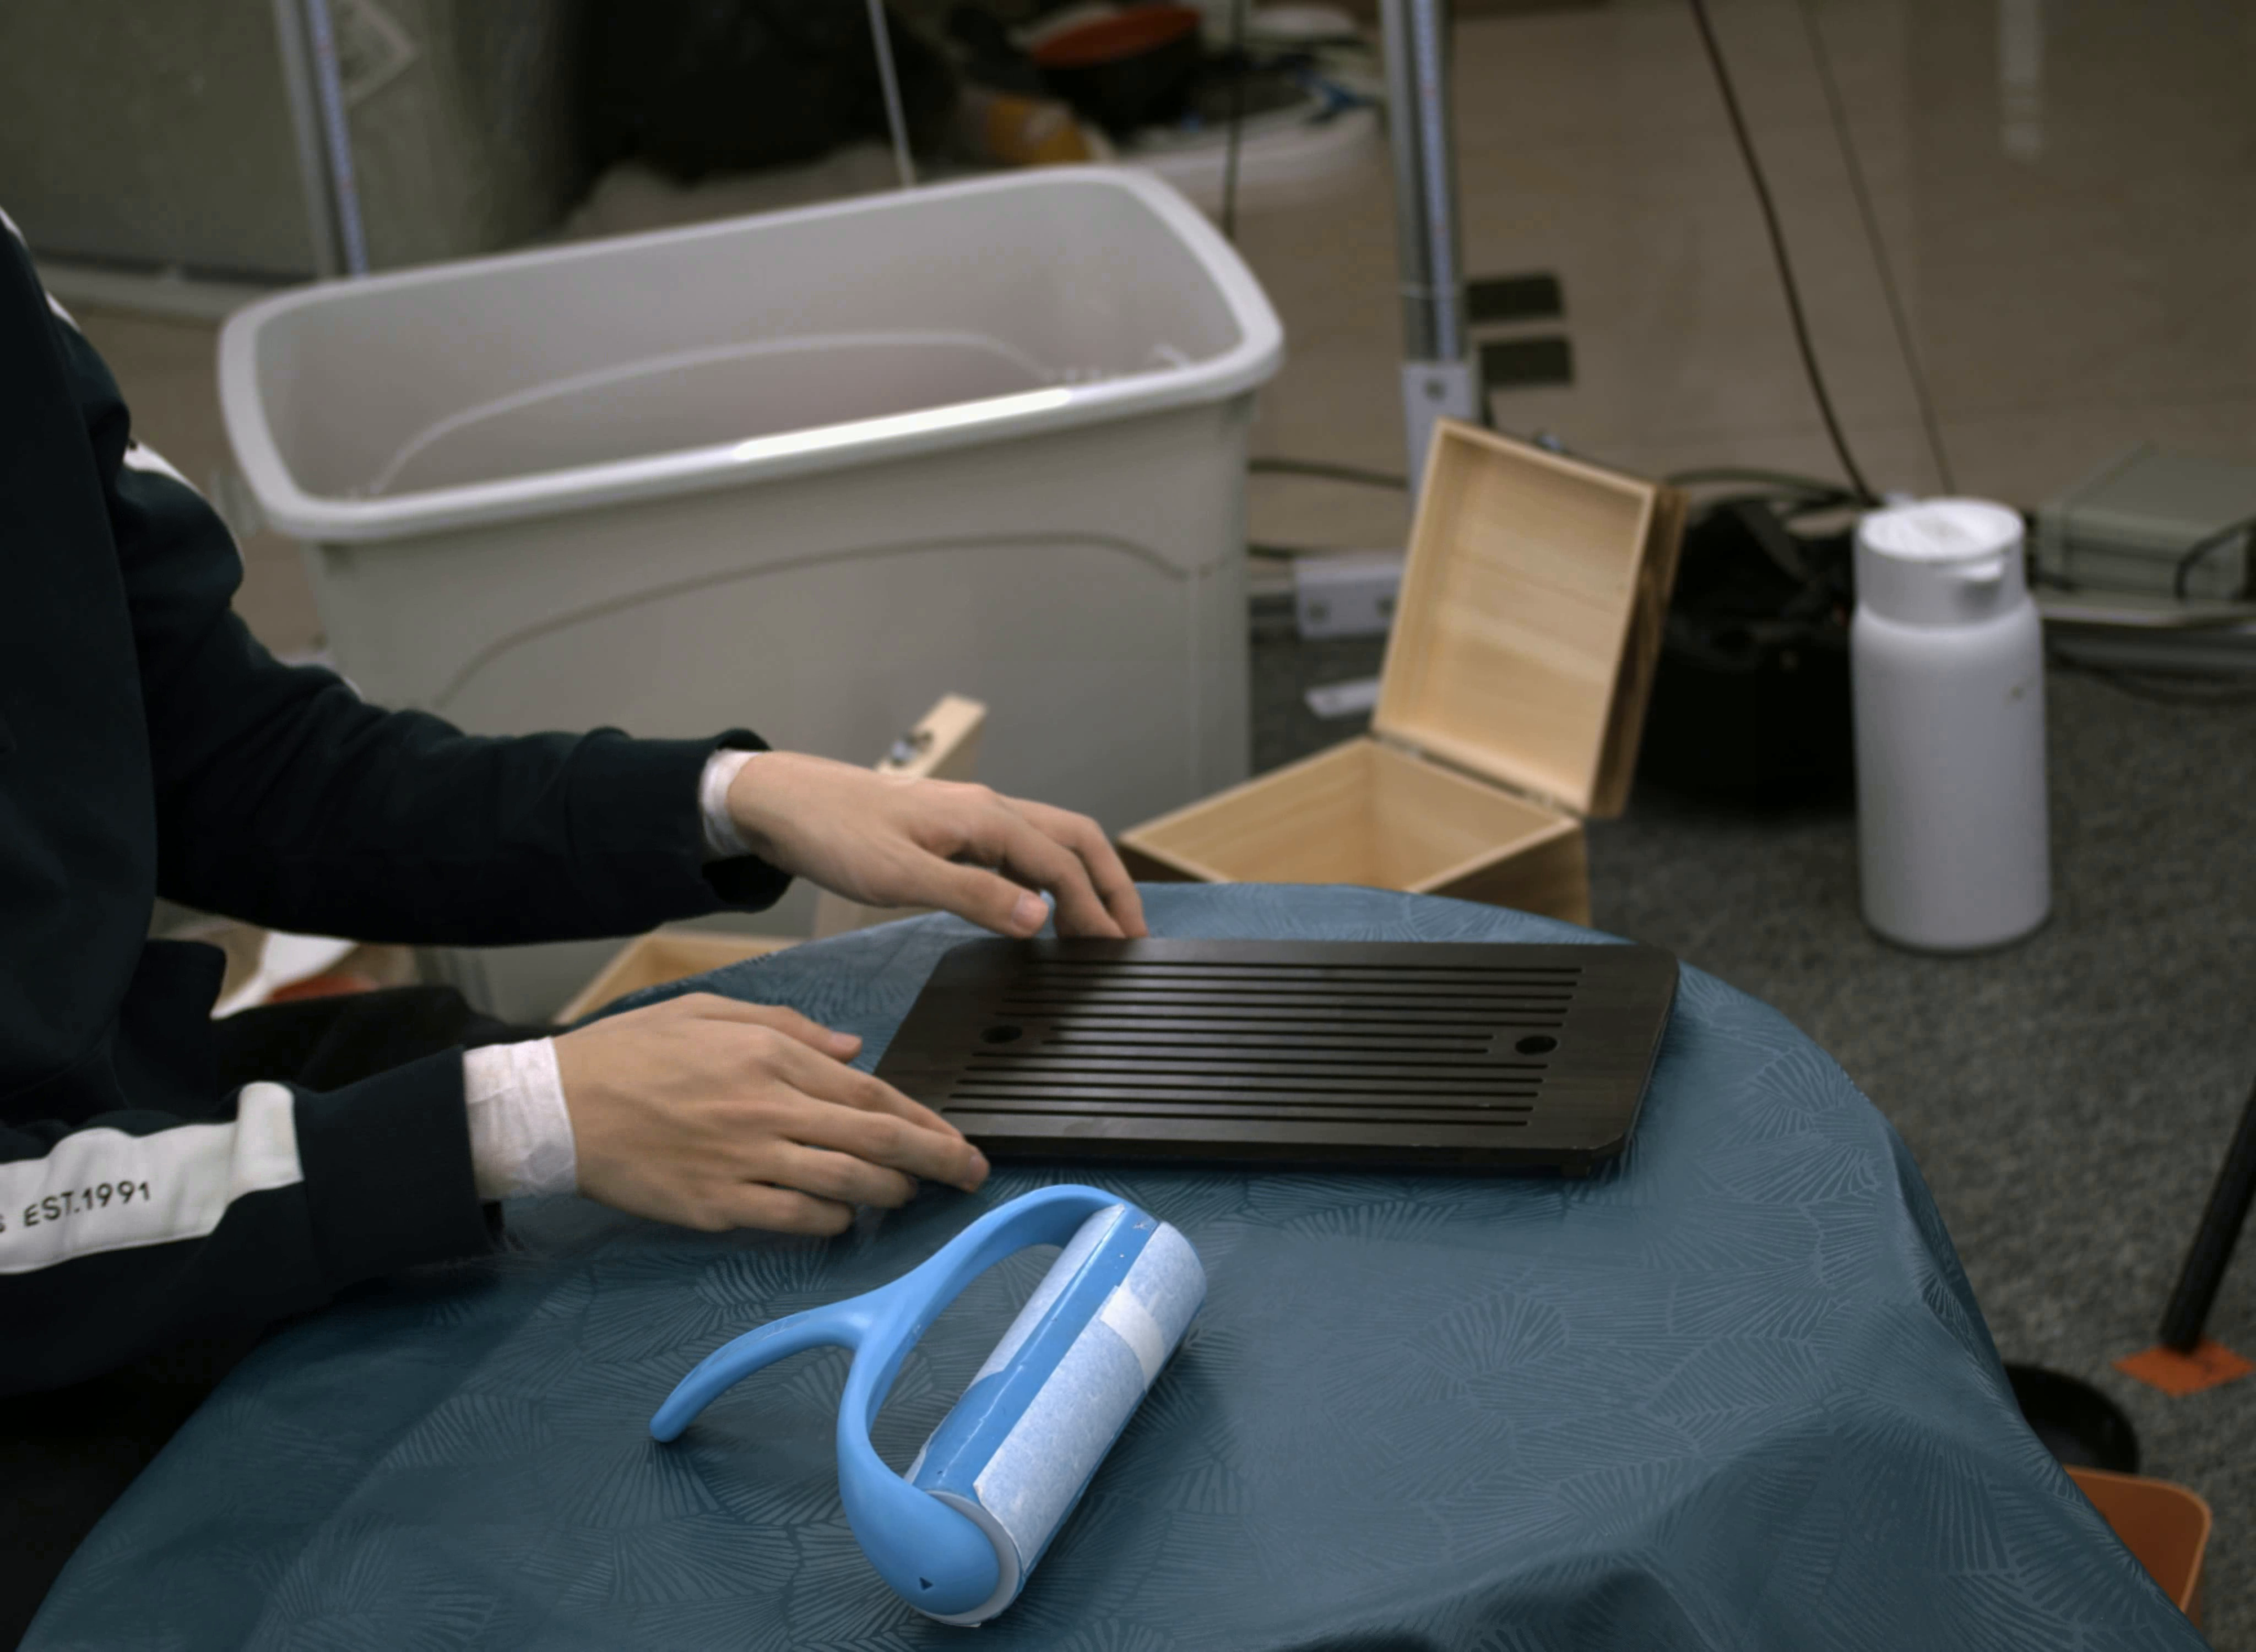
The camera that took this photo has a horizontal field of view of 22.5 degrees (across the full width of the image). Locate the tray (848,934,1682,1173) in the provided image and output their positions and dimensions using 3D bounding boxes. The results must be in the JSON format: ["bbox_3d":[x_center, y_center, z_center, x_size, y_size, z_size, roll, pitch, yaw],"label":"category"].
[{"bbox_3d":[0.056,0.088,2.217,0.305,0.019,0.167,0,26,14],"label":"tray"}]

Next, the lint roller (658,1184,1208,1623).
[{"bbox_3d":[-0.084,0.196,1.973,0.180,0.069,0.225,3,29,17],"label":"lint roller"}]
